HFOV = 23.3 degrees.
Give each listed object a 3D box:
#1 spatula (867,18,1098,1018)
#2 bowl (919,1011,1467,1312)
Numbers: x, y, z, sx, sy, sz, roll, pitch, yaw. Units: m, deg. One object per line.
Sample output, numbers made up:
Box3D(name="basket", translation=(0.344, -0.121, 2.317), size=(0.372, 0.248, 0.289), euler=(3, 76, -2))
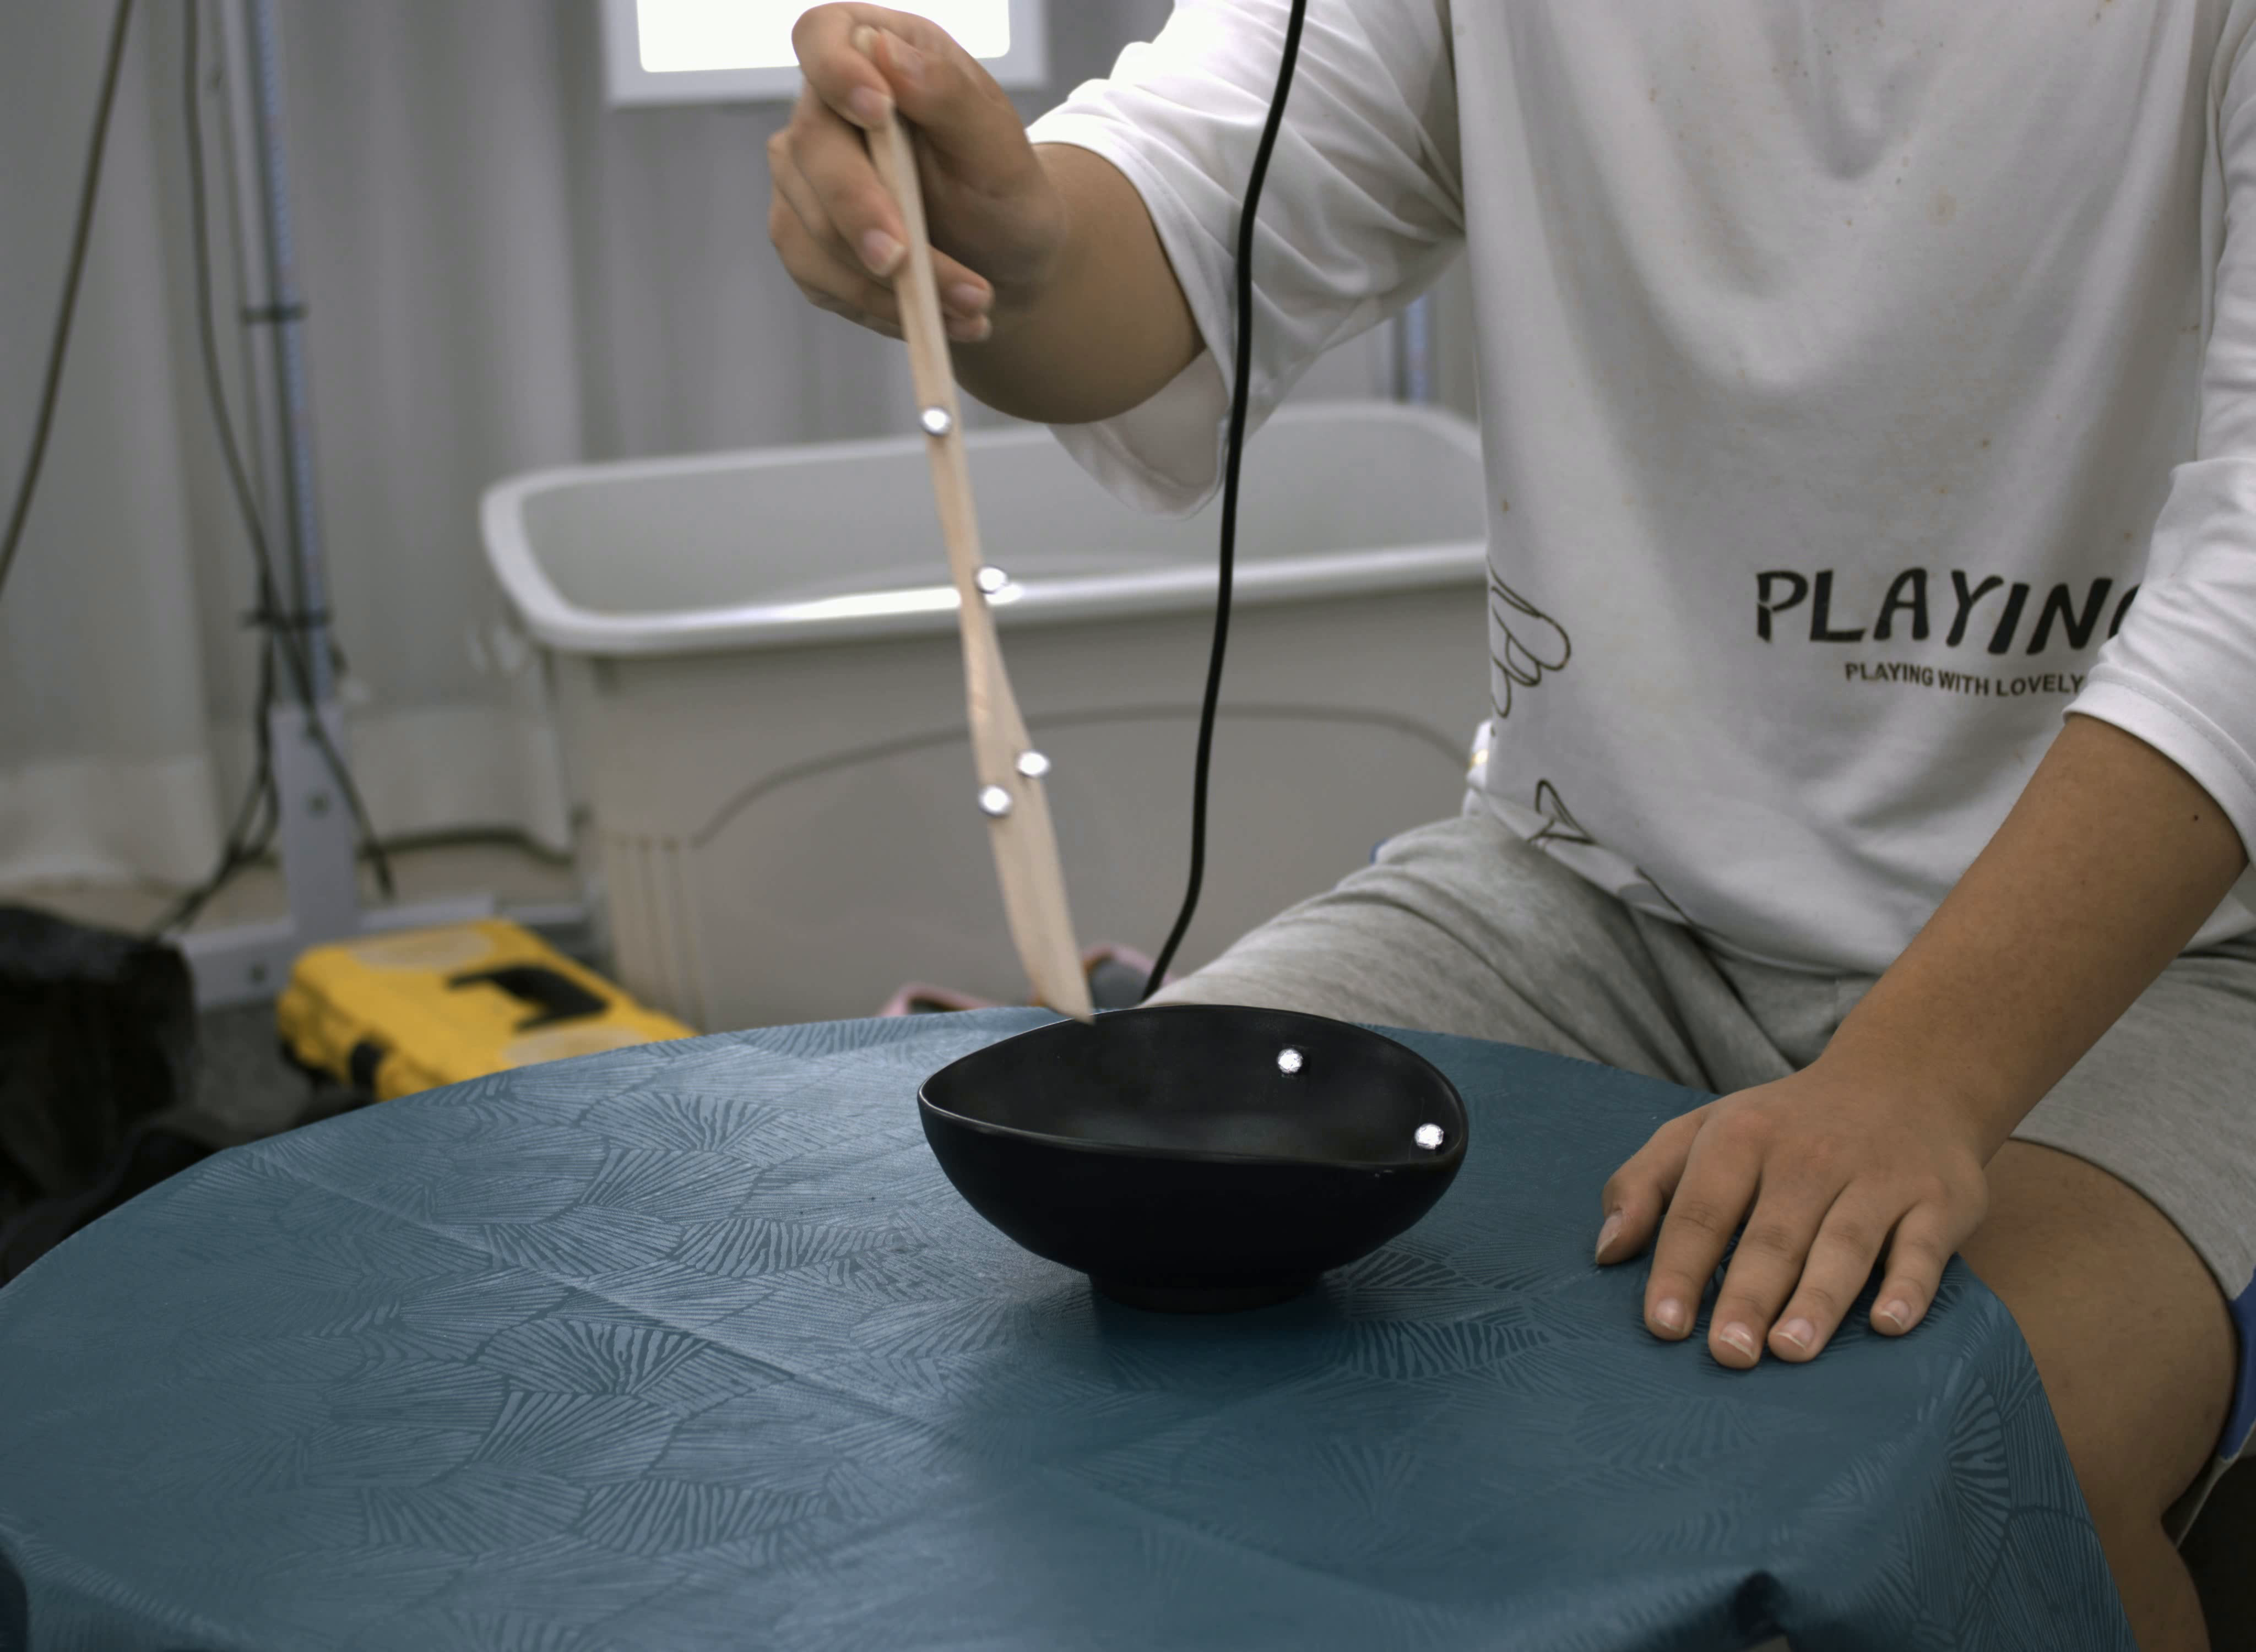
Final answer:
Box3D(name="spatula", translation=(-0.045, -0.090, 1.562), size=(0.010, 0.295, 0.072), euler=(-12, -9, 8))
Box3D(name="bowl", translation=(0.020, 0.104, 1.632), size=(0.170, 0.066, 0.137), euler=(5, 16, 21))
